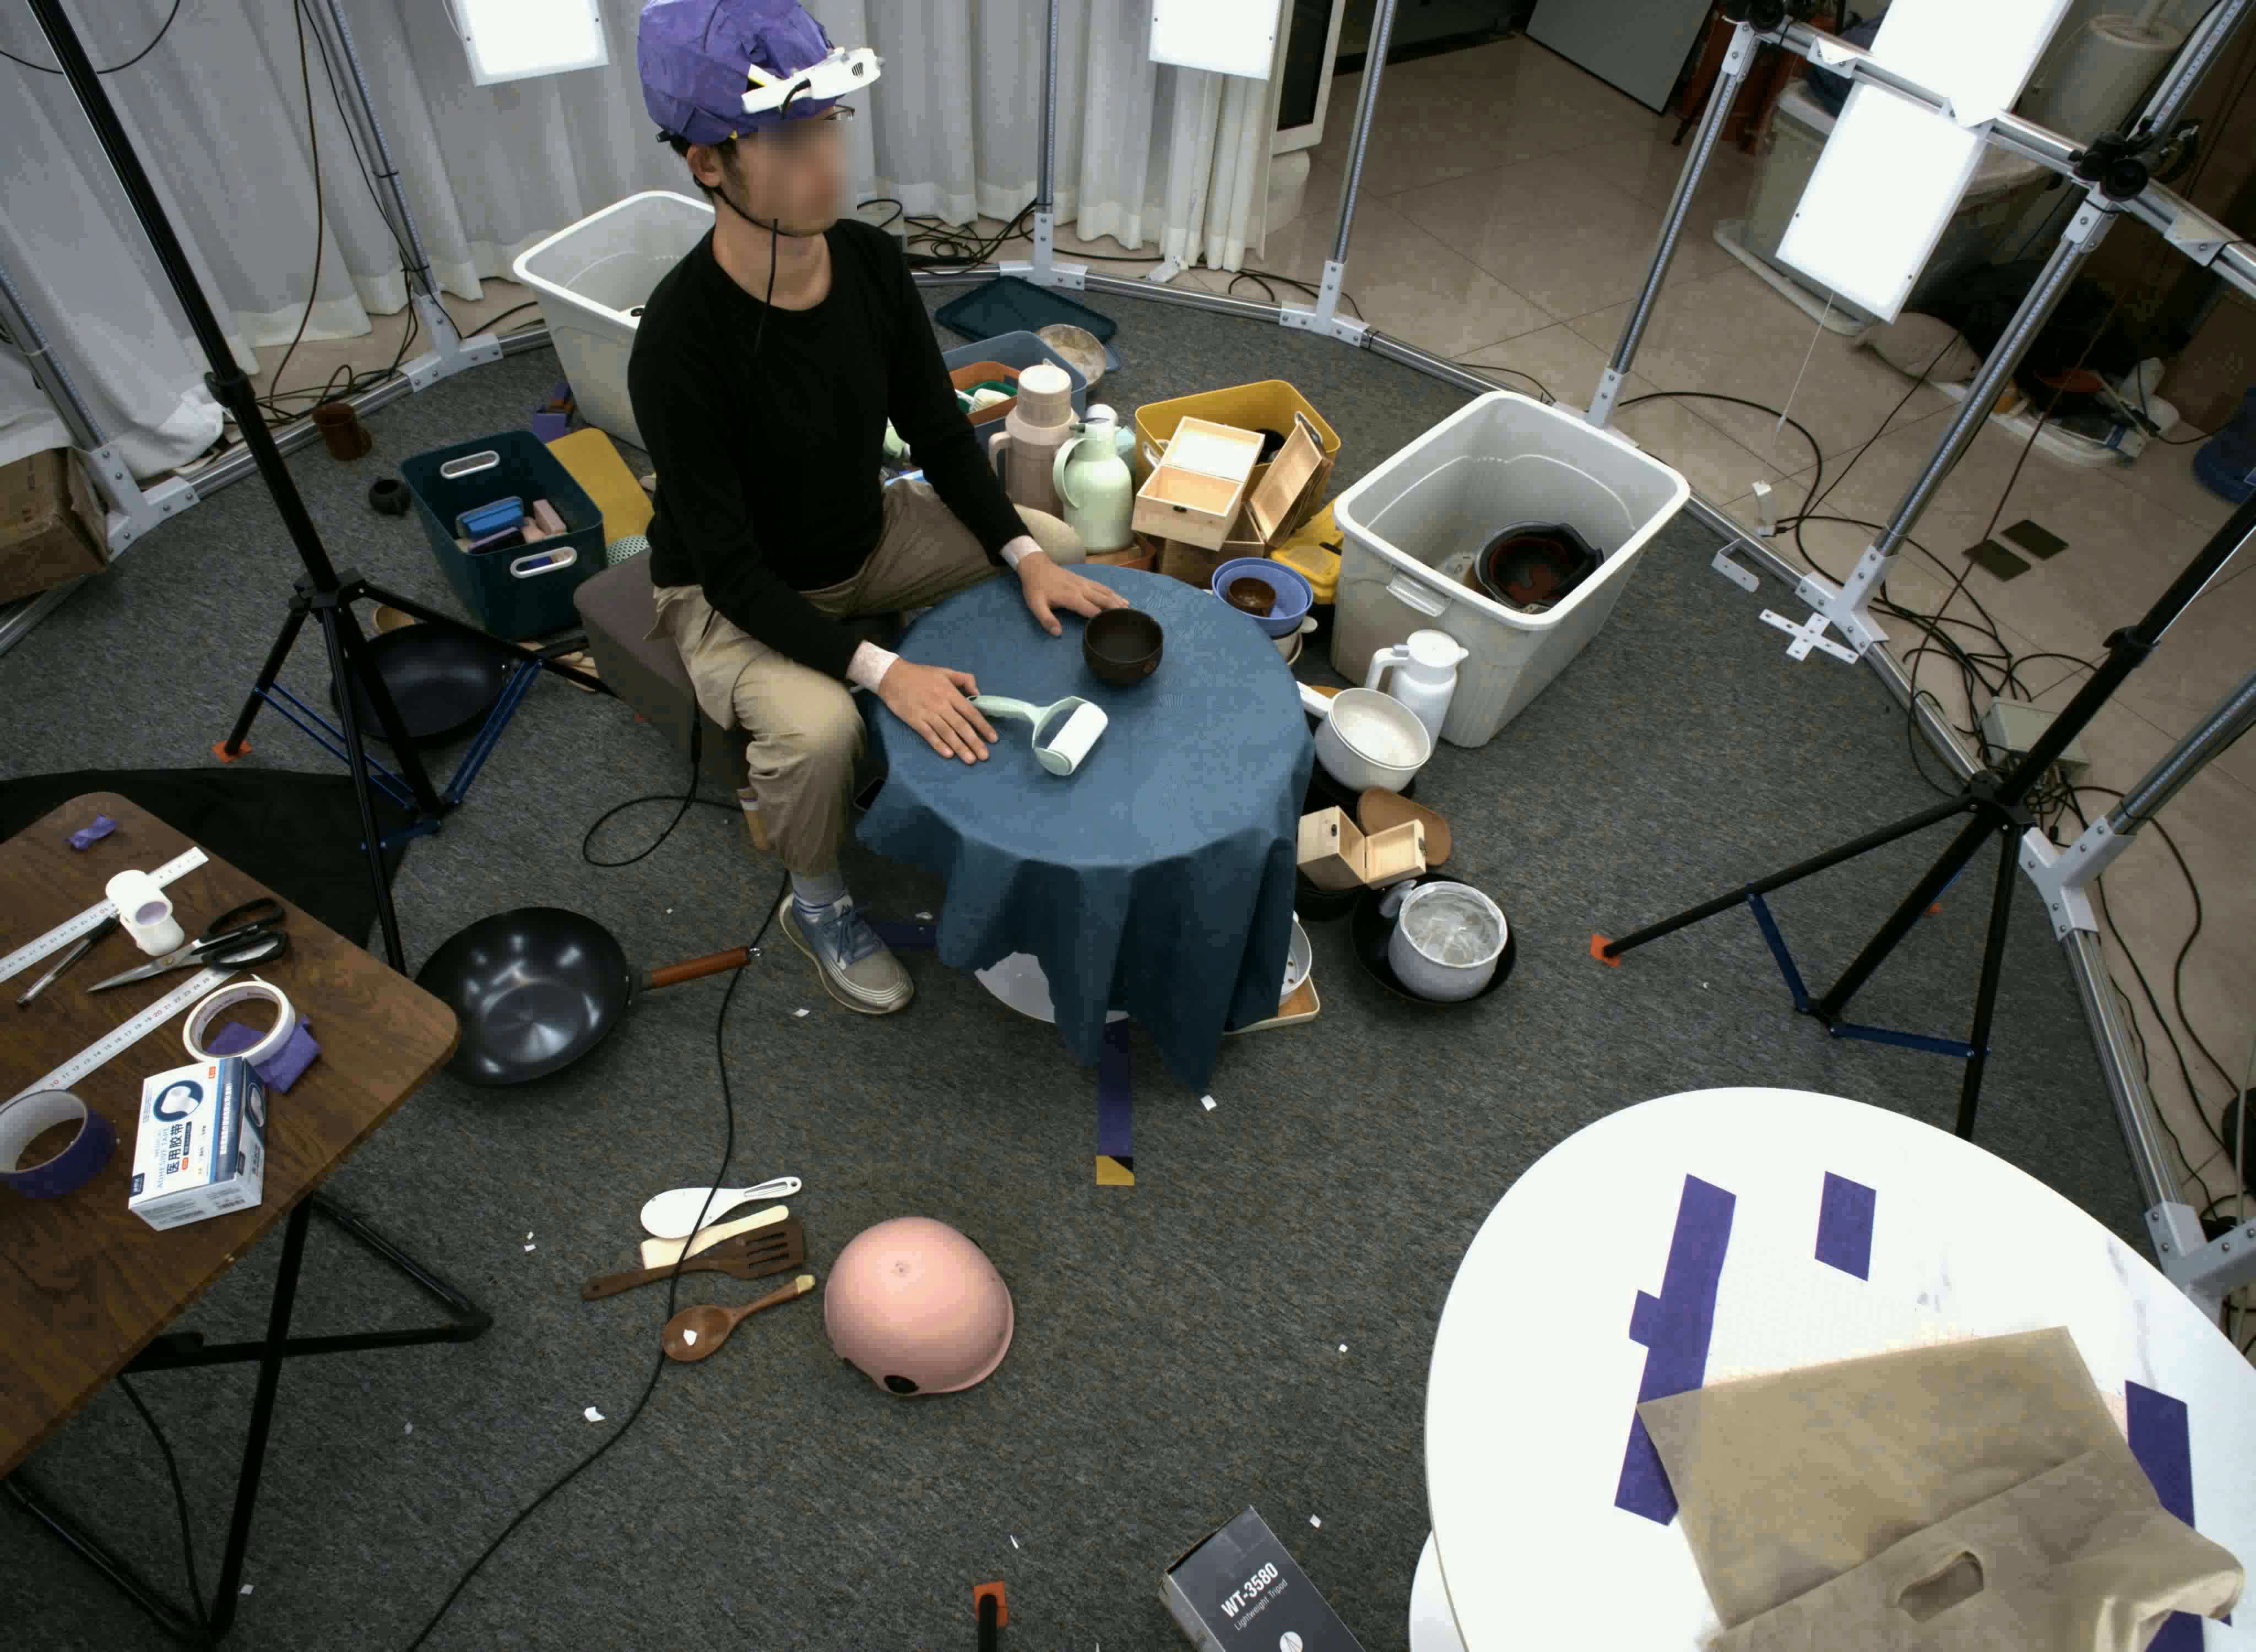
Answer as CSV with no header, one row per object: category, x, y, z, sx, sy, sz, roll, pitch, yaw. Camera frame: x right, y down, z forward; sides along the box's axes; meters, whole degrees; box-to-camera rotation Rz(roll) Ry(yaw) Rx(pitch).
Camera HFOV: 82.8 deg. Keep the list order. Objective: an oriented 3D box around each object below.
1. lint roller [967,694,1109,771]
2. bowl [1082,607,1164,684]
lint roller,-0.133,-0.151,1.763,0.199,0.047,0.118,22,52,17
bowl,-0.008,-0.251,1.840,0.118,0.068,0.121,1,50,-2
